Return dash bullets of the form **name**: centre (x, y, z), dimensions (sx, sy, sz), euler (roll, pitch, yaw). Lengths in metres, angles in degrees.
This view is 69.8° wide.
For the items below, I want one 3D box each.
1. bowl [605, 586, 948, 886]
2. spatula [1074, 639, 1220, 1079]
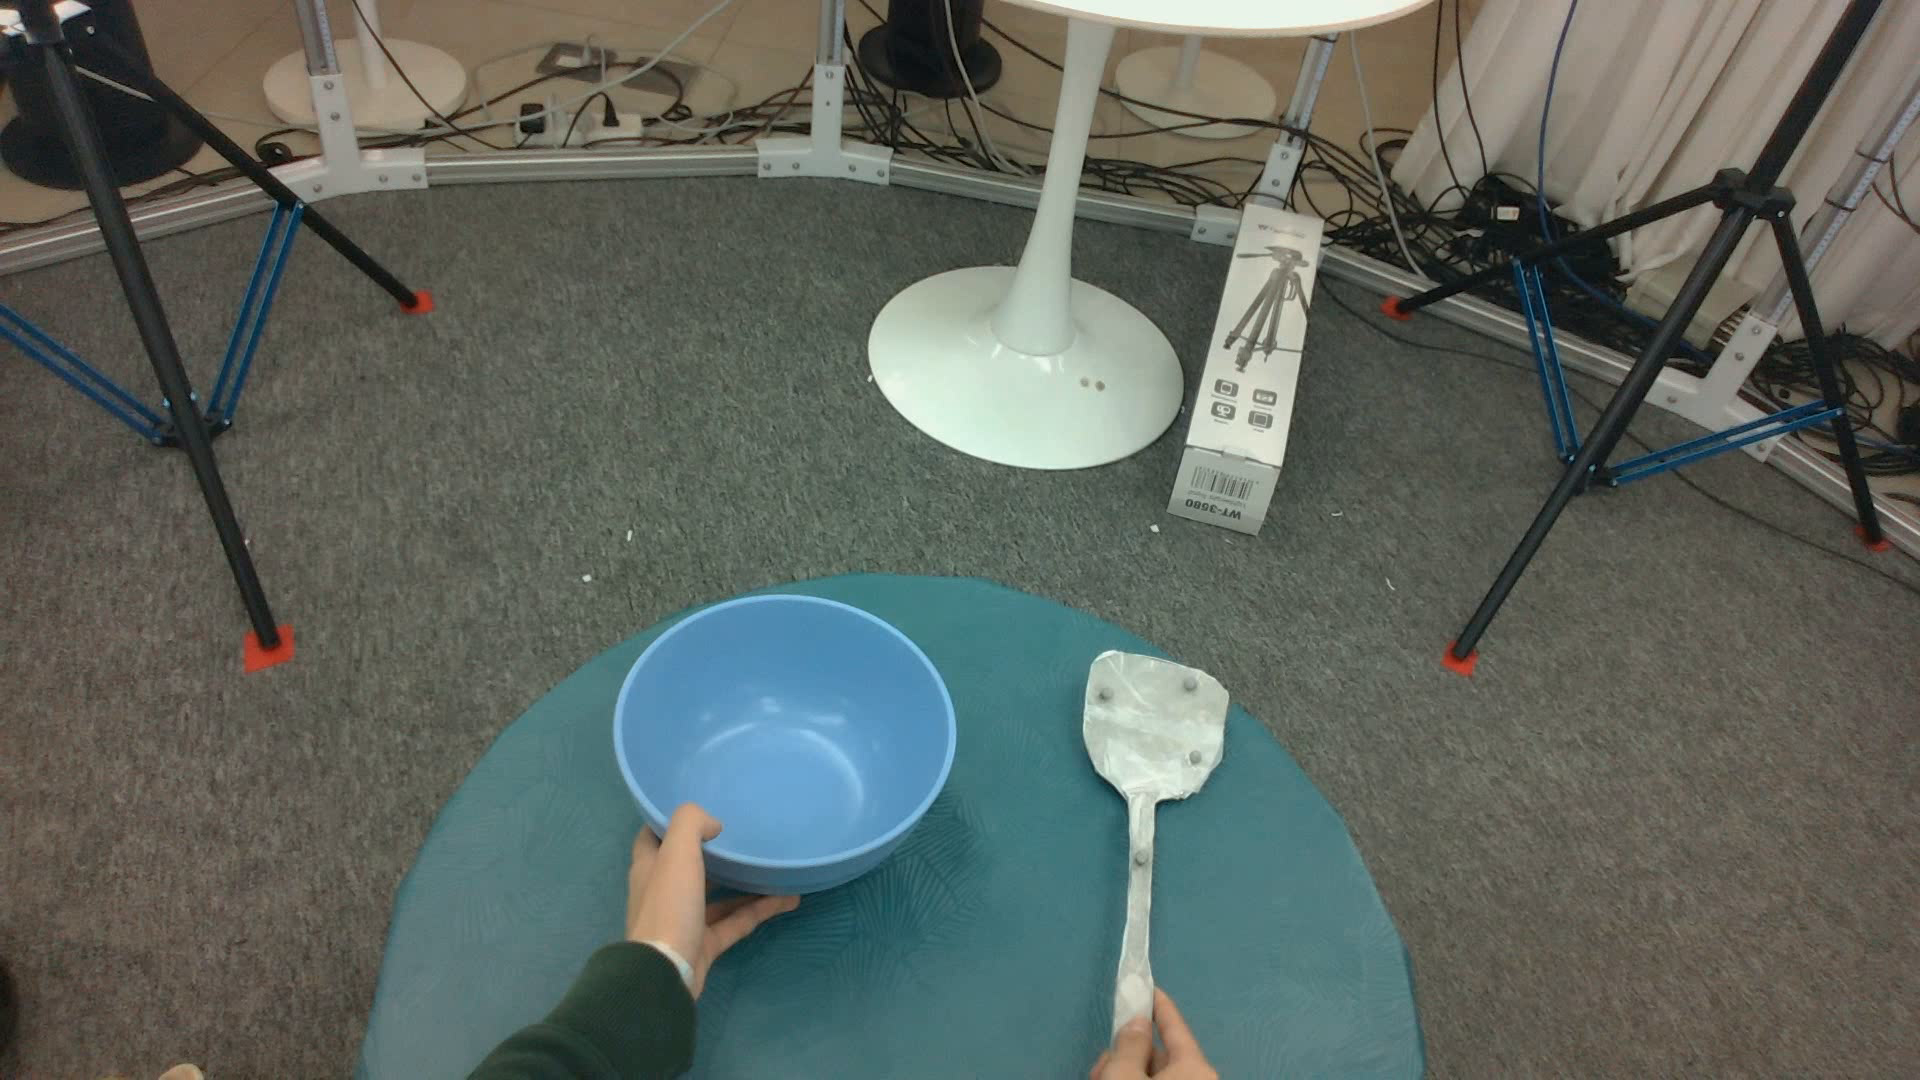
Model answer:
- **bowl**: centre (-0.111, 0.130, 0.825), dimensions (0.196, 0.095, 0.197), euler (8, 42, -7)
- **spatula**: centre (0.100, 0.200, 0.819), dimensions (0.099, 0.044, 0.367), euler (17, 39, -1)
